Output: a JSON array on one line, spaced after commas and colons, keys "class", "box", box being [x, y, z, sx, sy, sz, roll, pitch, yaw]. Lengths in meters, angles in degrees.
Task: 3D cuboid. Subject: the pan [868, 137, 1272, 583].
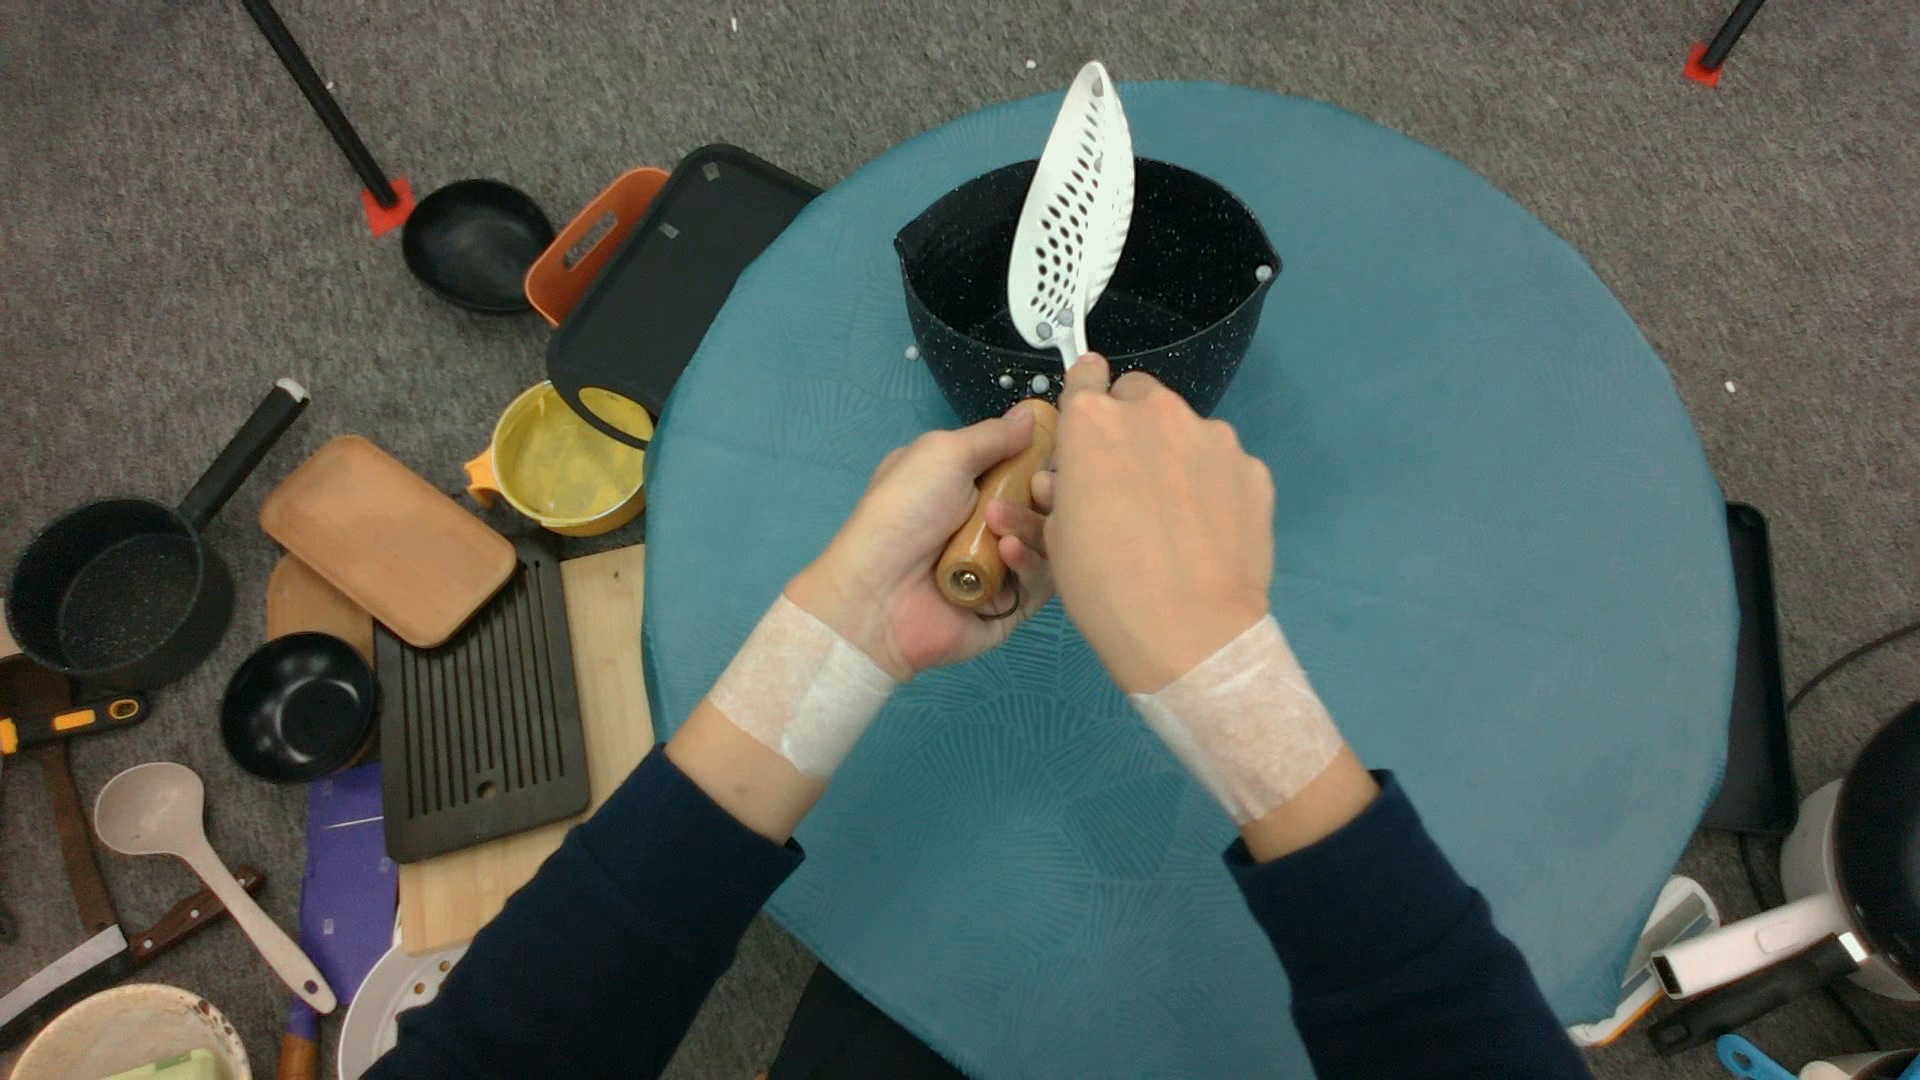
[{"class": "pan", "box": [0.039, -0.079, 0.665, 0.207, 0.107, 0.344, 6, 46, 10]}]

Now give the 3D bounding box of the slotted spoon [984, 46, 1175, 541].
[{"class": "slotted spoon", "box": [0.054, -0.110, 0.626, 0.050, 0.136, 0.349, 16, 37, -11]}]
